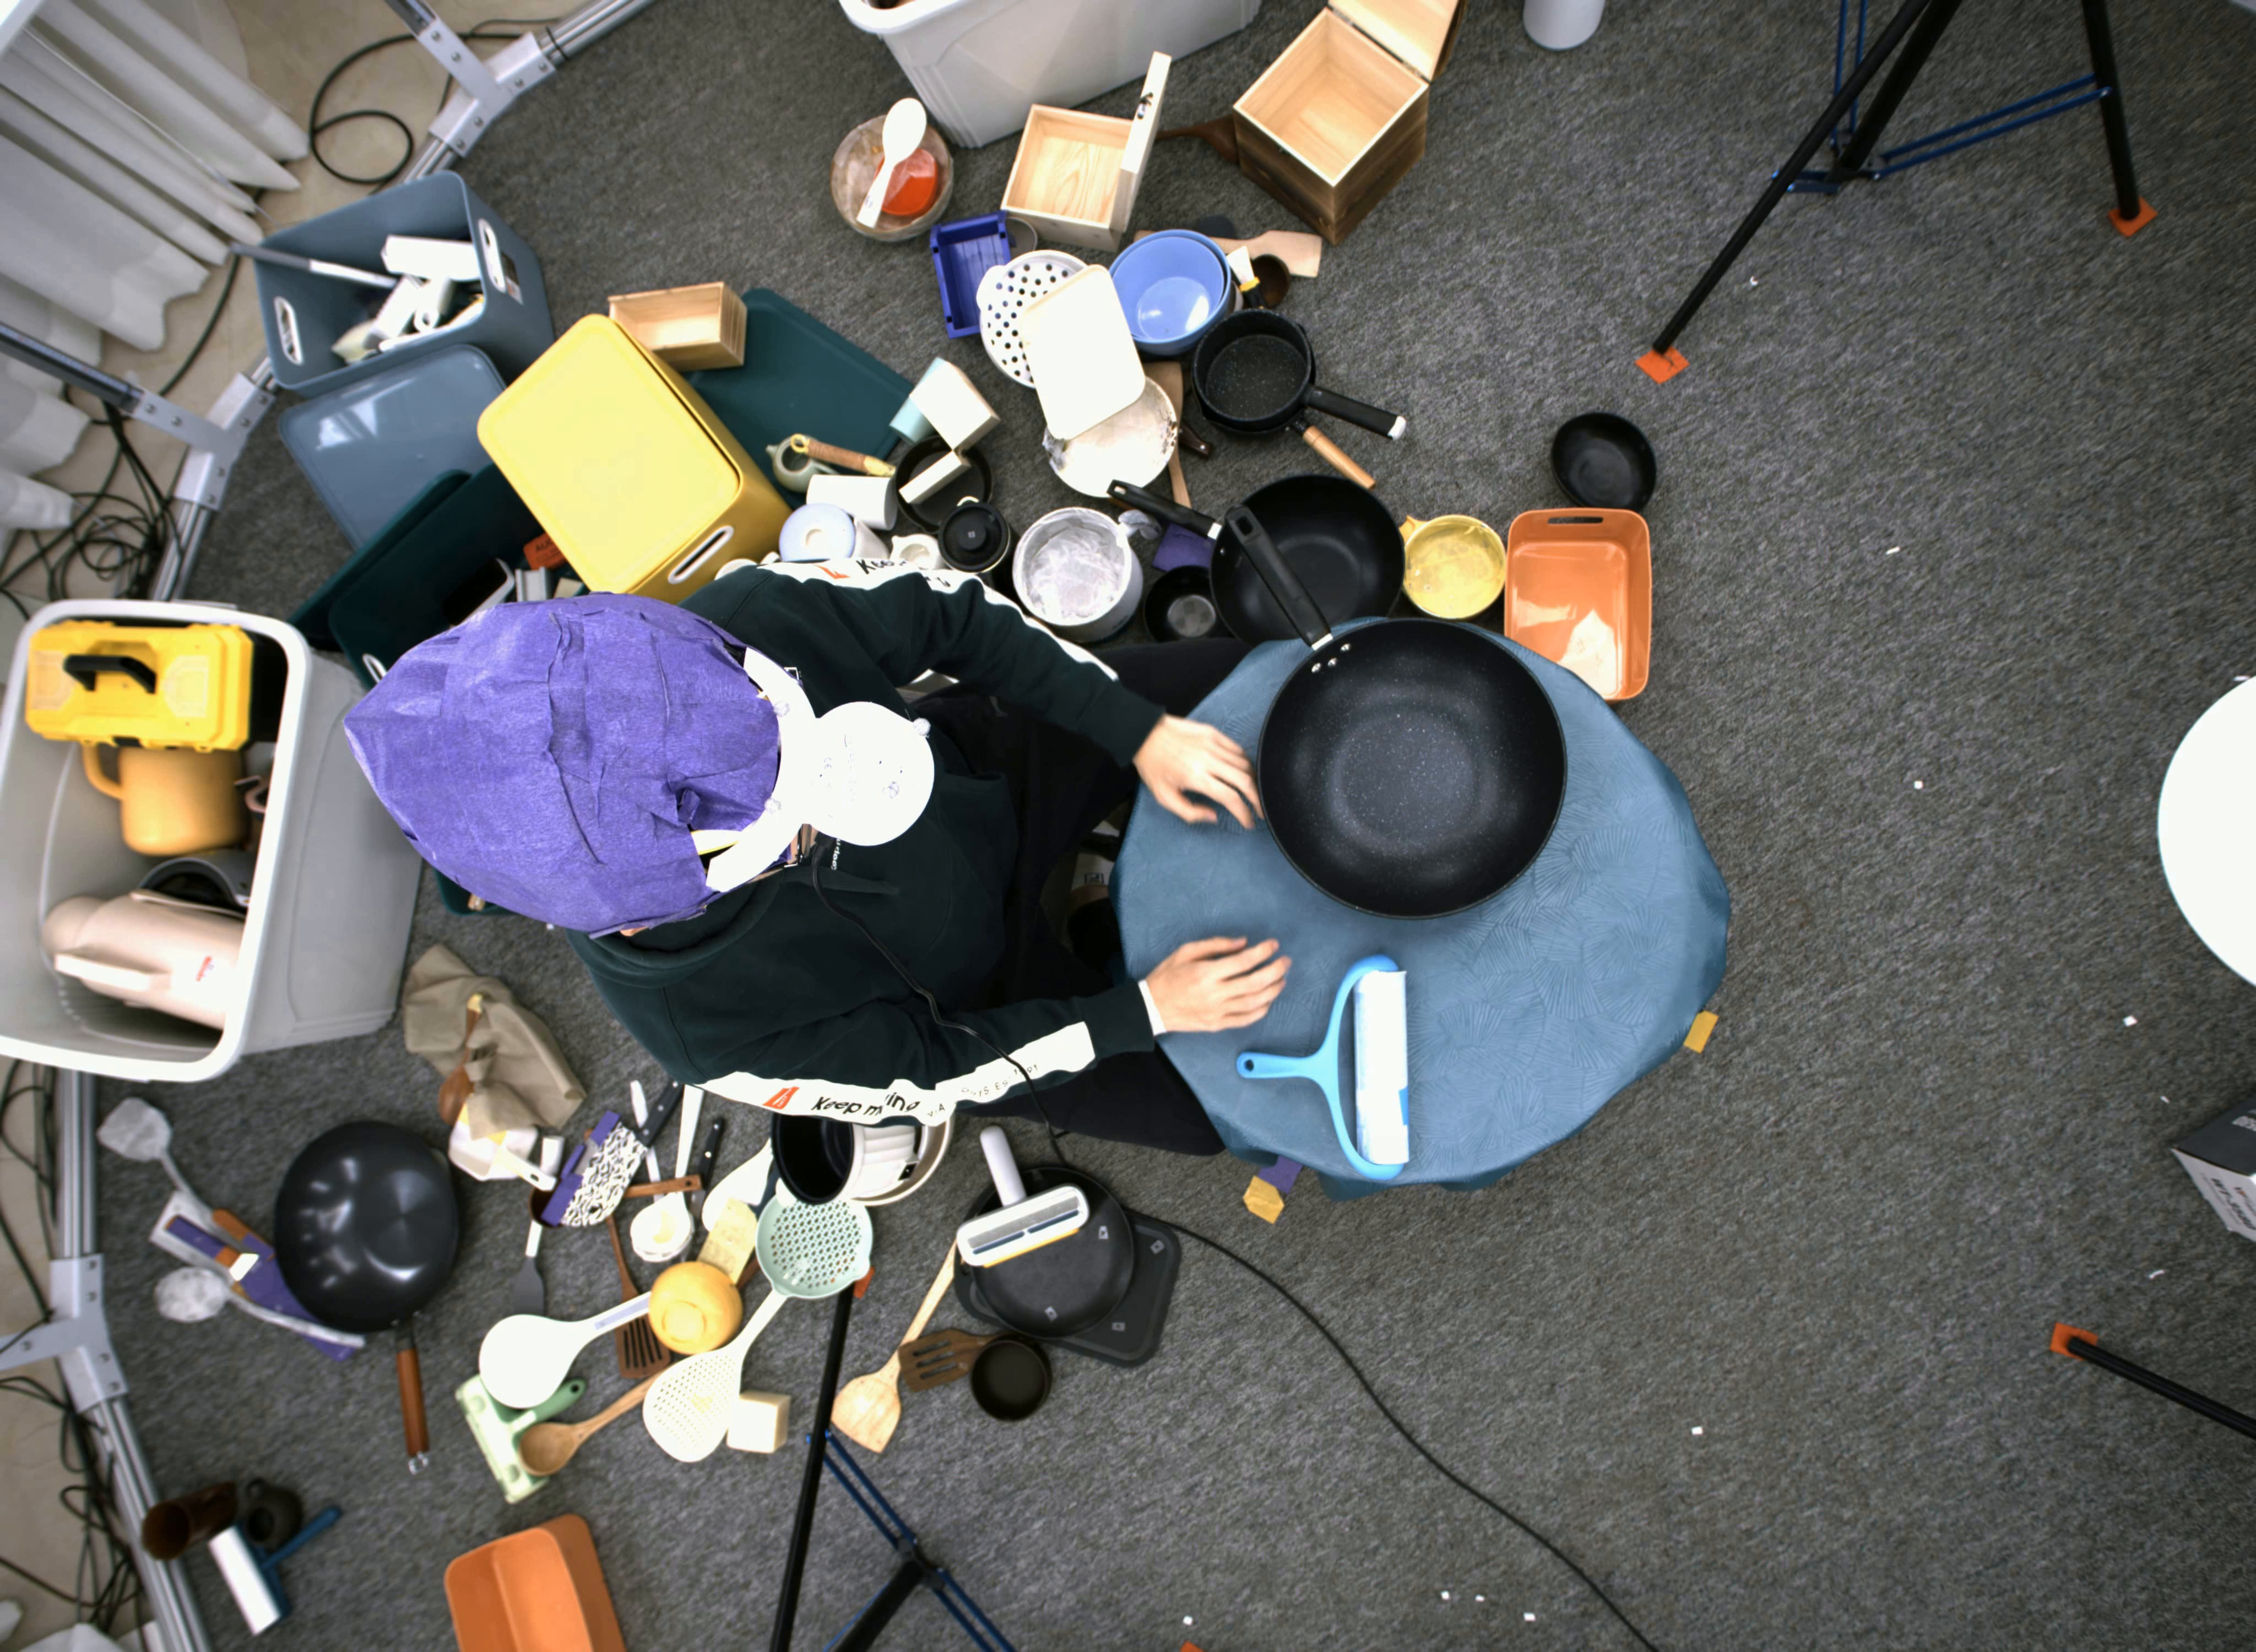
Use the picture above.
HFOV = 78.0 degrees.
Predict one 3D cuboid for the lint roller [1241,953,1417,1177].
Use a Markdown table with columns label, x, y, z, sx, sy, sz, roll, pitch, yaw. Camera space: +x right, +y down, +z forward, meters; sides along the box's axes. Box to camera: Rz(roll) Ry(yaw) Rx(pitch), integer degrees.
| label | x | y | z | sx | sy | sz | roll | pitch | yaw |
| --- | --- | --- | --- | --- | --- | --- | --- | --- | --- |
| lint roller | 0.205 | 0.249 | 1.430 | 0.181 | 0.068 | 0.228 | -5 | 88 | 9 |

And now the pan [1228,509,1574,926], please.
| label | x | y | z | sx | sy | sz | roll | pitch | yaw |
| --- | --- | --- | --- | --- | --- | --- | --- | --- | --- |
| pan | 0.247 | -0.121 | 1.416 | 0.311 | 0.112 | 0.474 | -34 | 82 | 5 |
